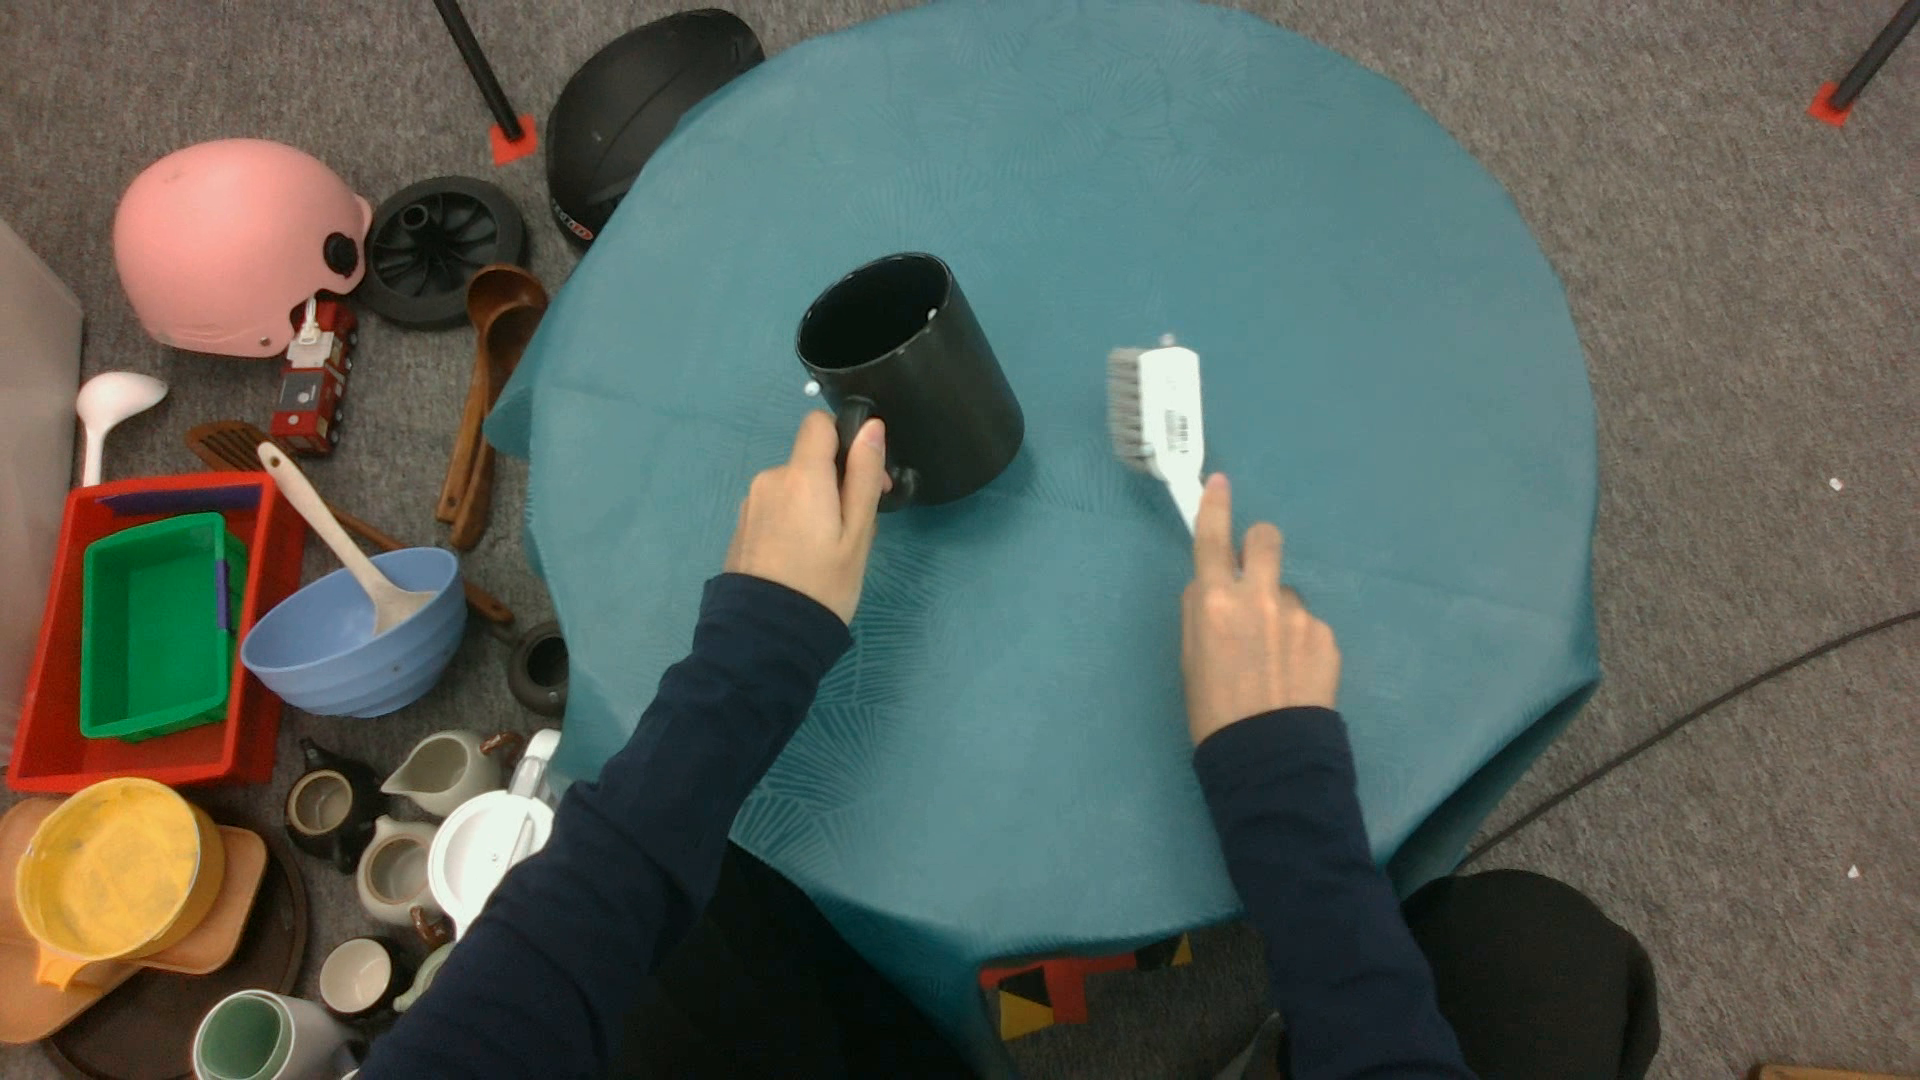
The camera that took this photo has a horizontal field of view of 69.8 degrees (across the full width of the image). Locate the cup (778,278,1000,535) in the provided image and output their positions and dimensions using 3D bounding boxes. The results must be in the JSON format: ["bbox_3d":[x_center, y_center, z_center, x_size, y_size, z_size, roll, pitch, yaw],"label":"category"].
[{"bbox_3d":[-0.042,-0.058,0.723,0.088,0.105,0.124,3,53,29],"label":"cup"}]

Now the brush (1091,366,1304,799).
[{"bbox_3d":[0.120,0.019,0.723,0.034,0.050,0.244,-7,76,-42],"label":"brush"}]
